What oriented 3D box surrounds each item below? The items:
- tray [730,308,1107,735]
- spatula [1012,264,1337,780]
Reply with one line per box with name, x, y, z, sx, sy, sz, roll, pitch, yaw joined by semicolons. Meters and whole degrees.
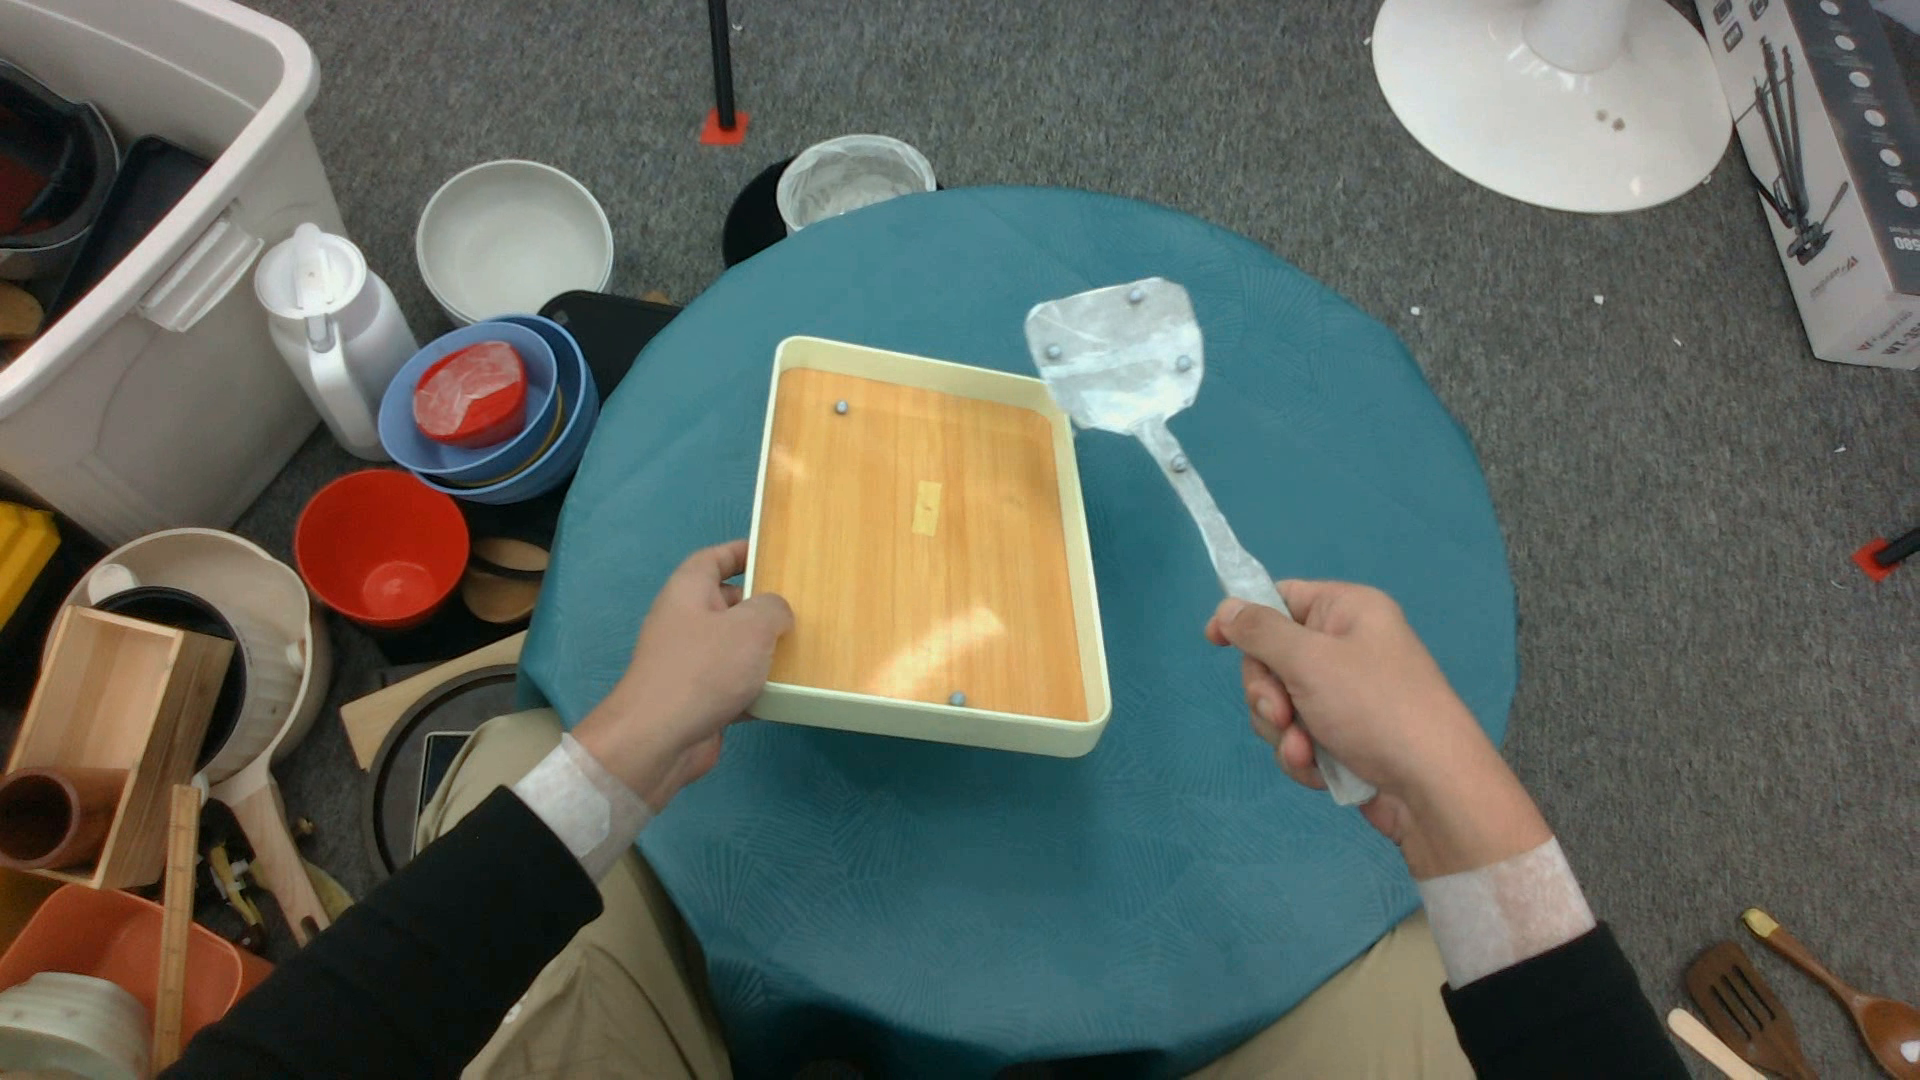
tray;-0.020;-0.024;0.787;0.192;0.027;0.301;10;42;-9
spatula;0.112;-0.032;0.682;0.099;0.044;0.366;-13;39;-5
